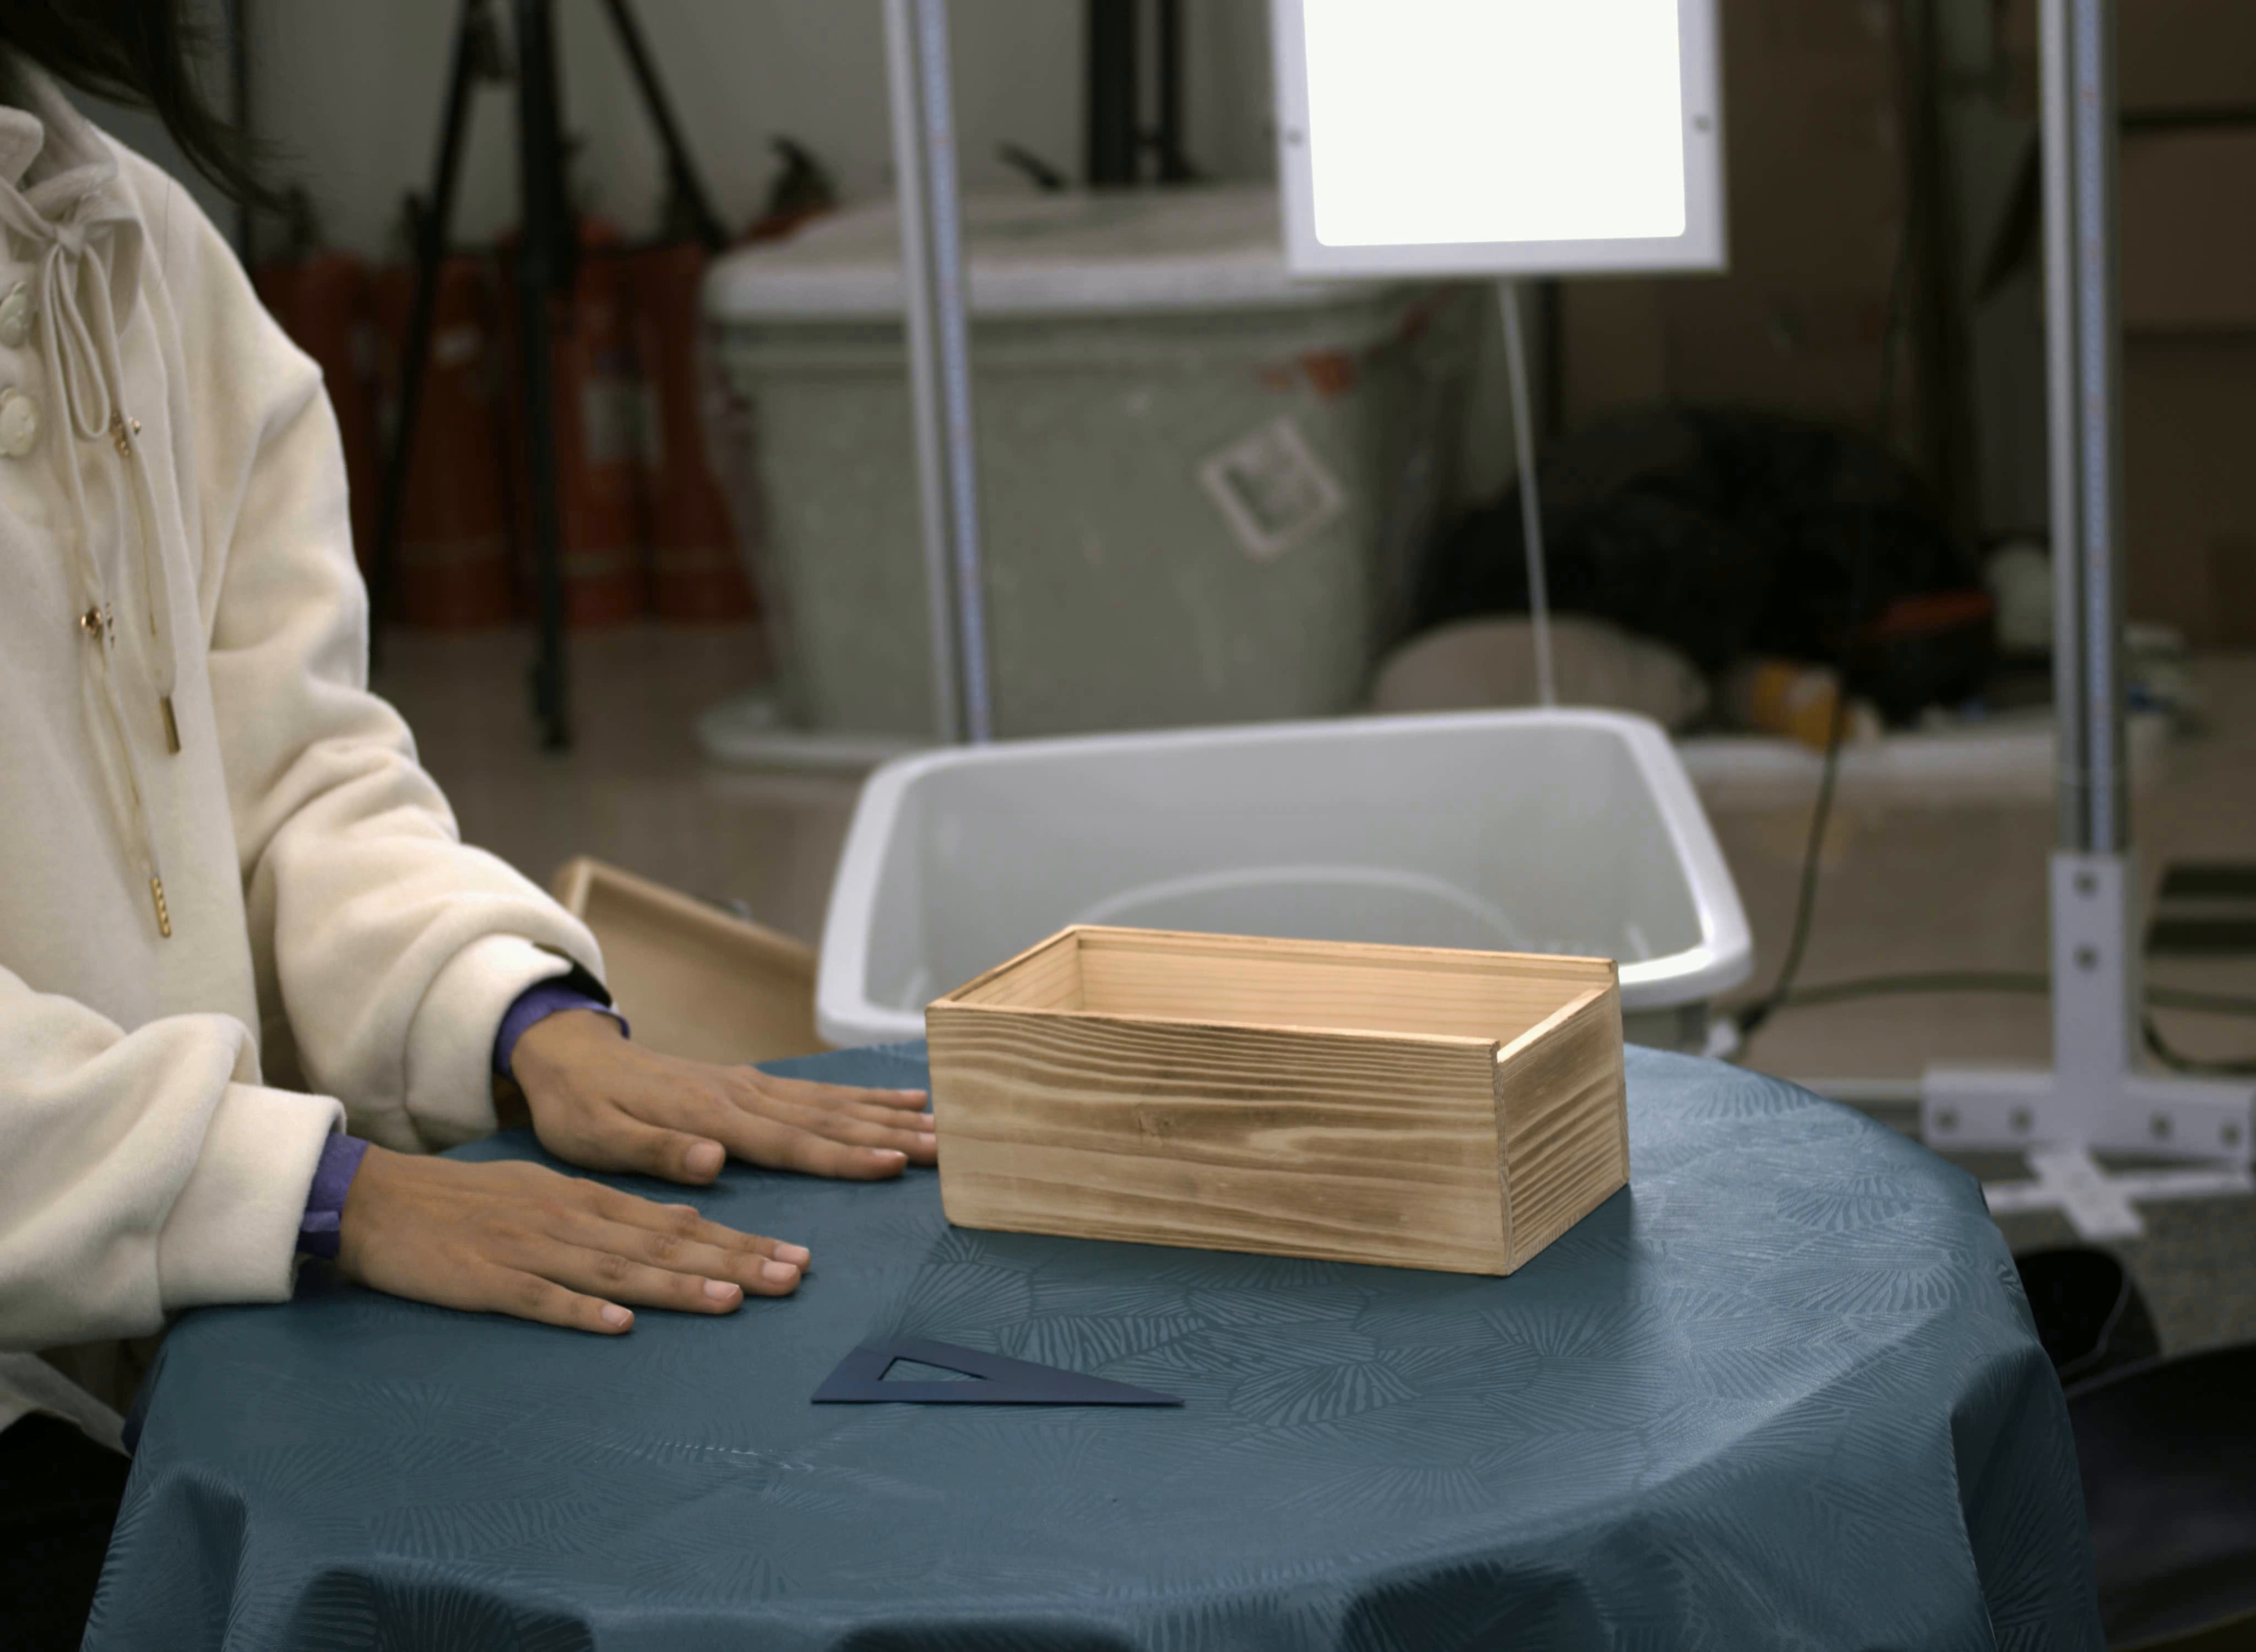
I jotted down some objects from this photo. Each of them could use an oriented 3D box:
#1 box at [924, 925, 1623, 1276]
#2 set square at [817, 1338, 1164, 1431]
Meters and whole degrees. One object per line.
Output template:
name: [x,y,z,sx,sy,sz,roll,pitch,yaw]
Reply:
box: [0.049,0.090,1.860,0.215,0.080,0.105,3,15,29]
set square: [-0.050,0.177,1.702,0.059,0.006,0.135,-15,17,-39]
